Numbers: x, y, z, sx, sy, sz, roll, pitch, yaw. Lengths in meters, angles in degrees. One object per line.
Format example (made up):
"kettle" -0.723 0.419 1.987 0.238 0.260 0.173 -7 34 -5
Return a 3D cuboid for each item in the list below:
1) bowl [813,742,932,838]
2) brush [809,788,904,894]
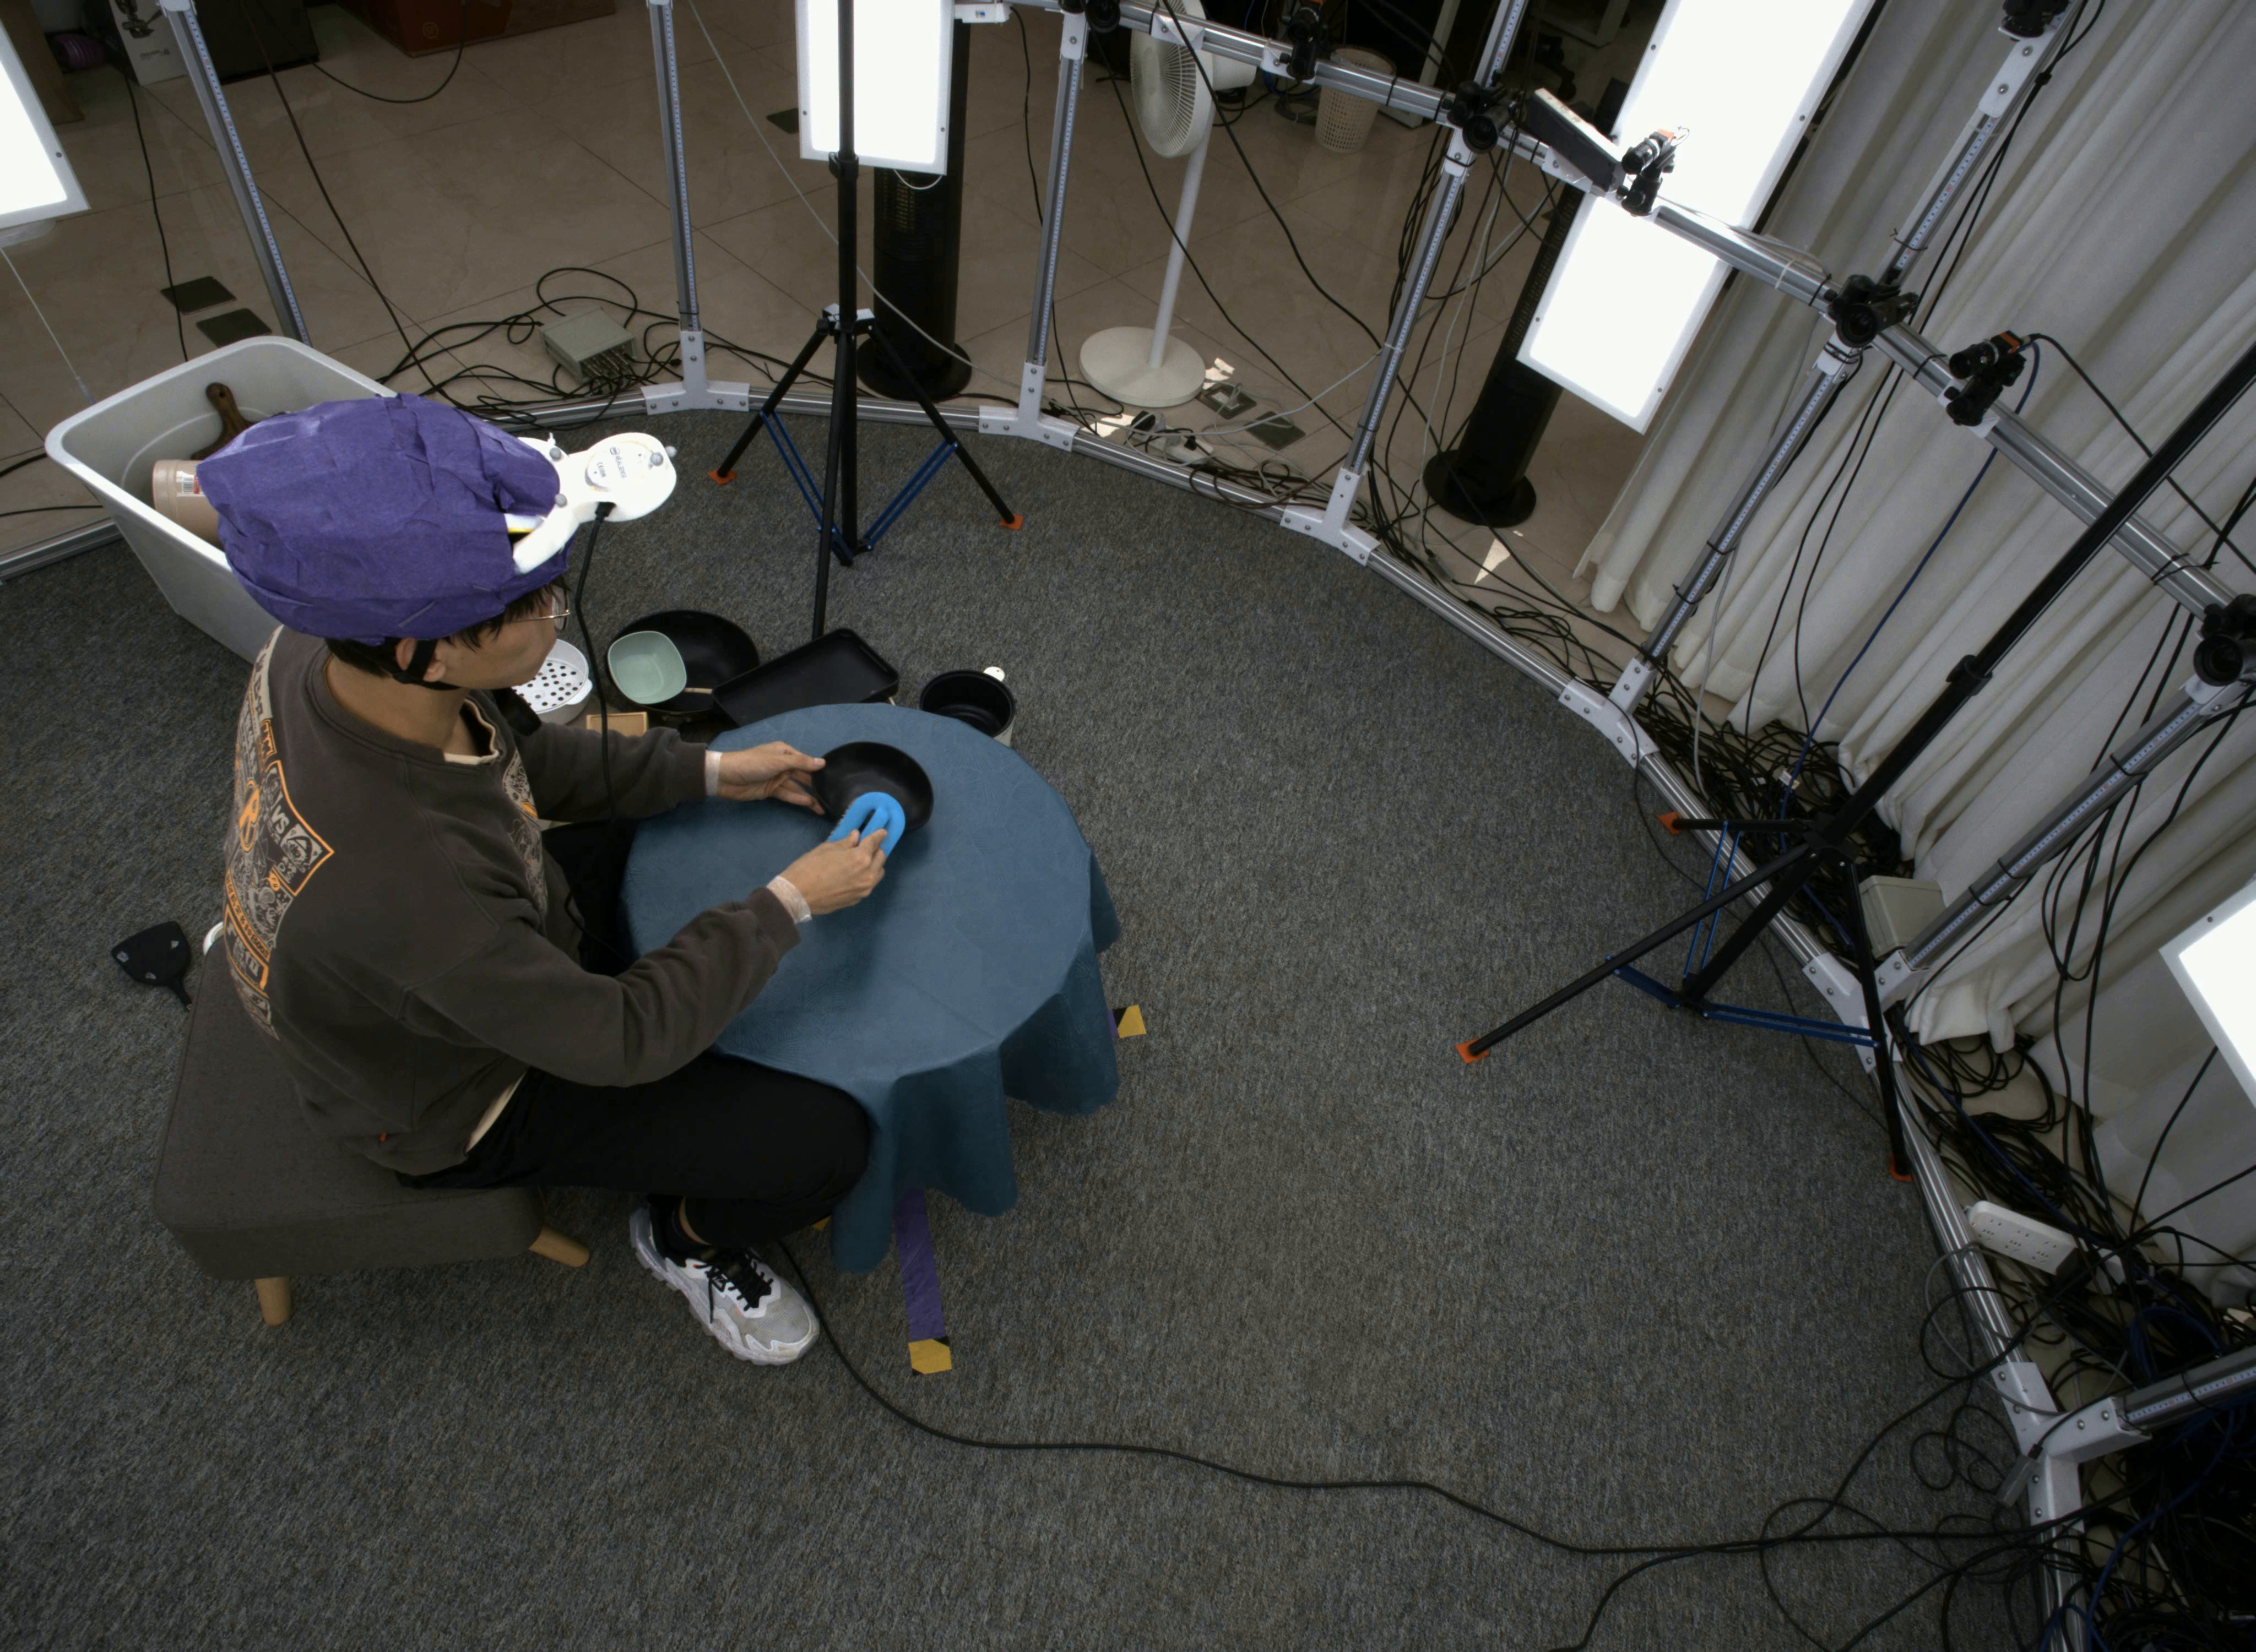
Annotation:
"bowl" -0.342 -0.037 1.746 0.168 0.068 0.136 27 54 5
"brush" -0.334 0.017 1.628 0.086 0.062 0.141 39 68 -18
